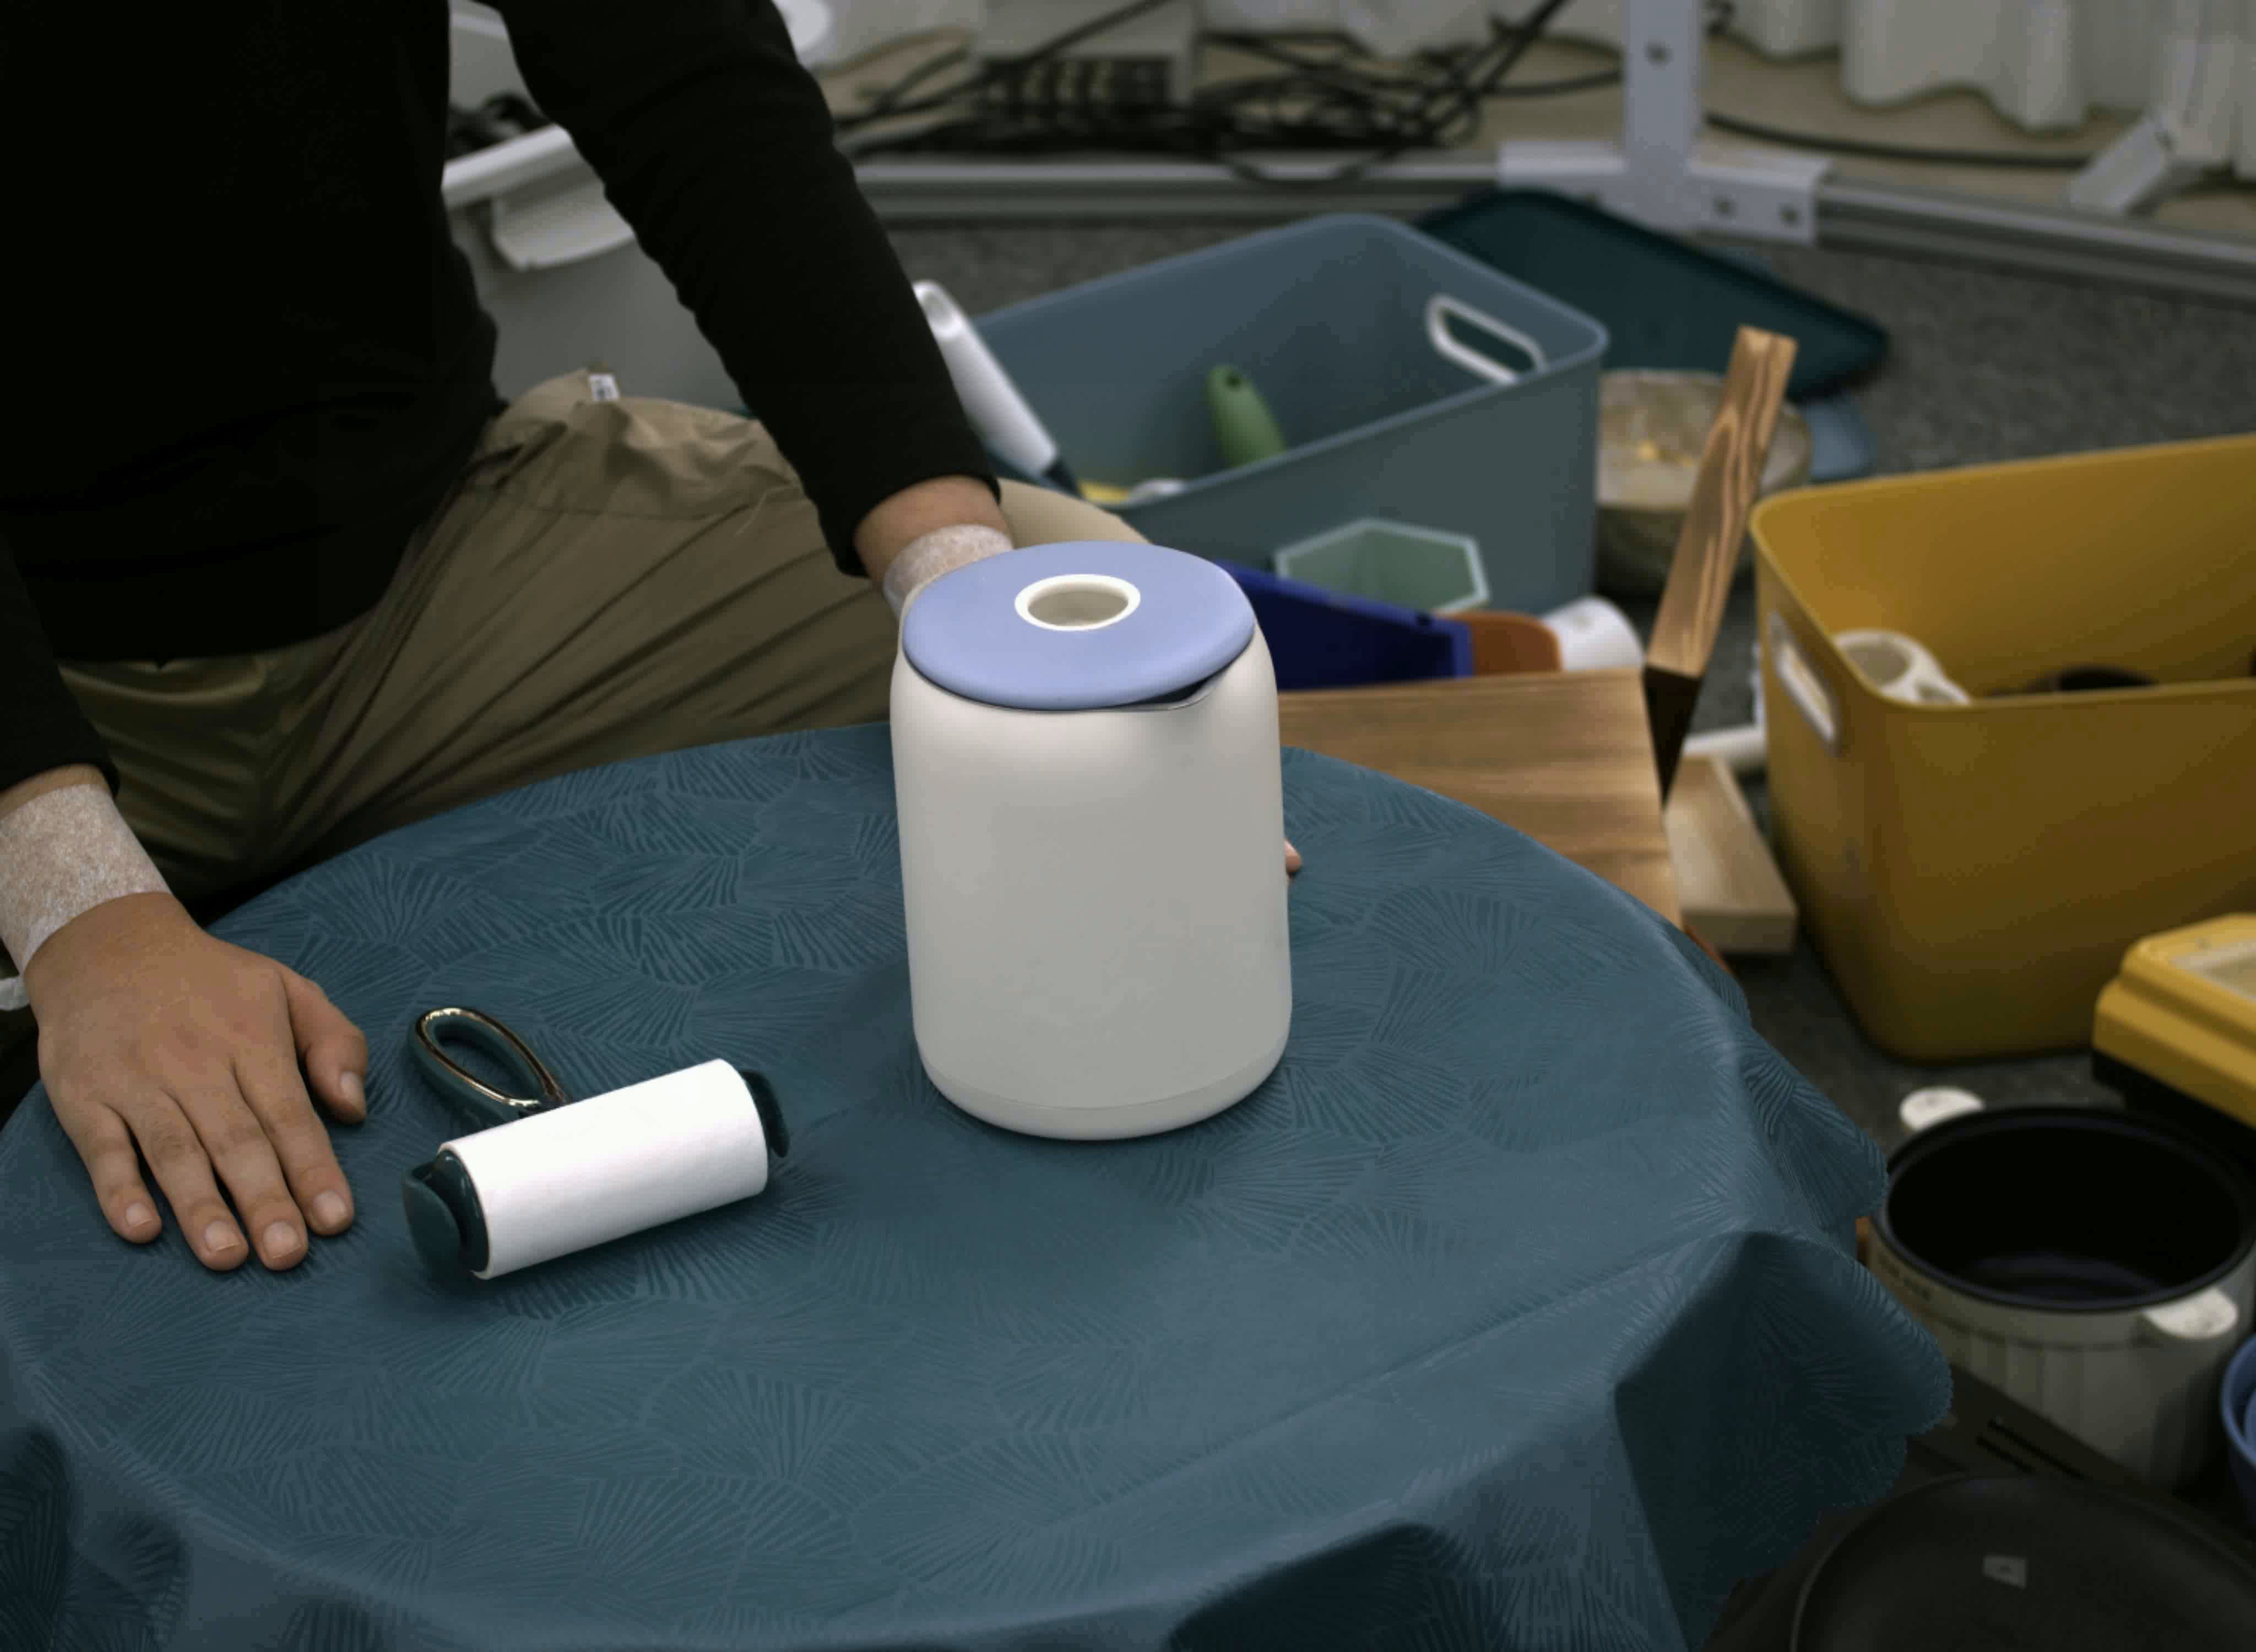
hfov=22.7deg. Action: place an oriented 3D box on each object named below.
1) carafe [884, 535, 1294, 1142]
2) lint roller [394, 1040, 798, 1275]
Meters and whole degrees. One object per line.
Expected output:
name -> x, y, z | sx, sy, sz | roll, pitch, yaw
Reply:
carafe -> -0.026, -0.005, 1.923 | 0.133, 0.181, 0.191 | -19, 28, -29
lint roller -> -0.205, 0.090, 1.899 | 0.135, 0.048, 0.181 | -16, 27, -24
